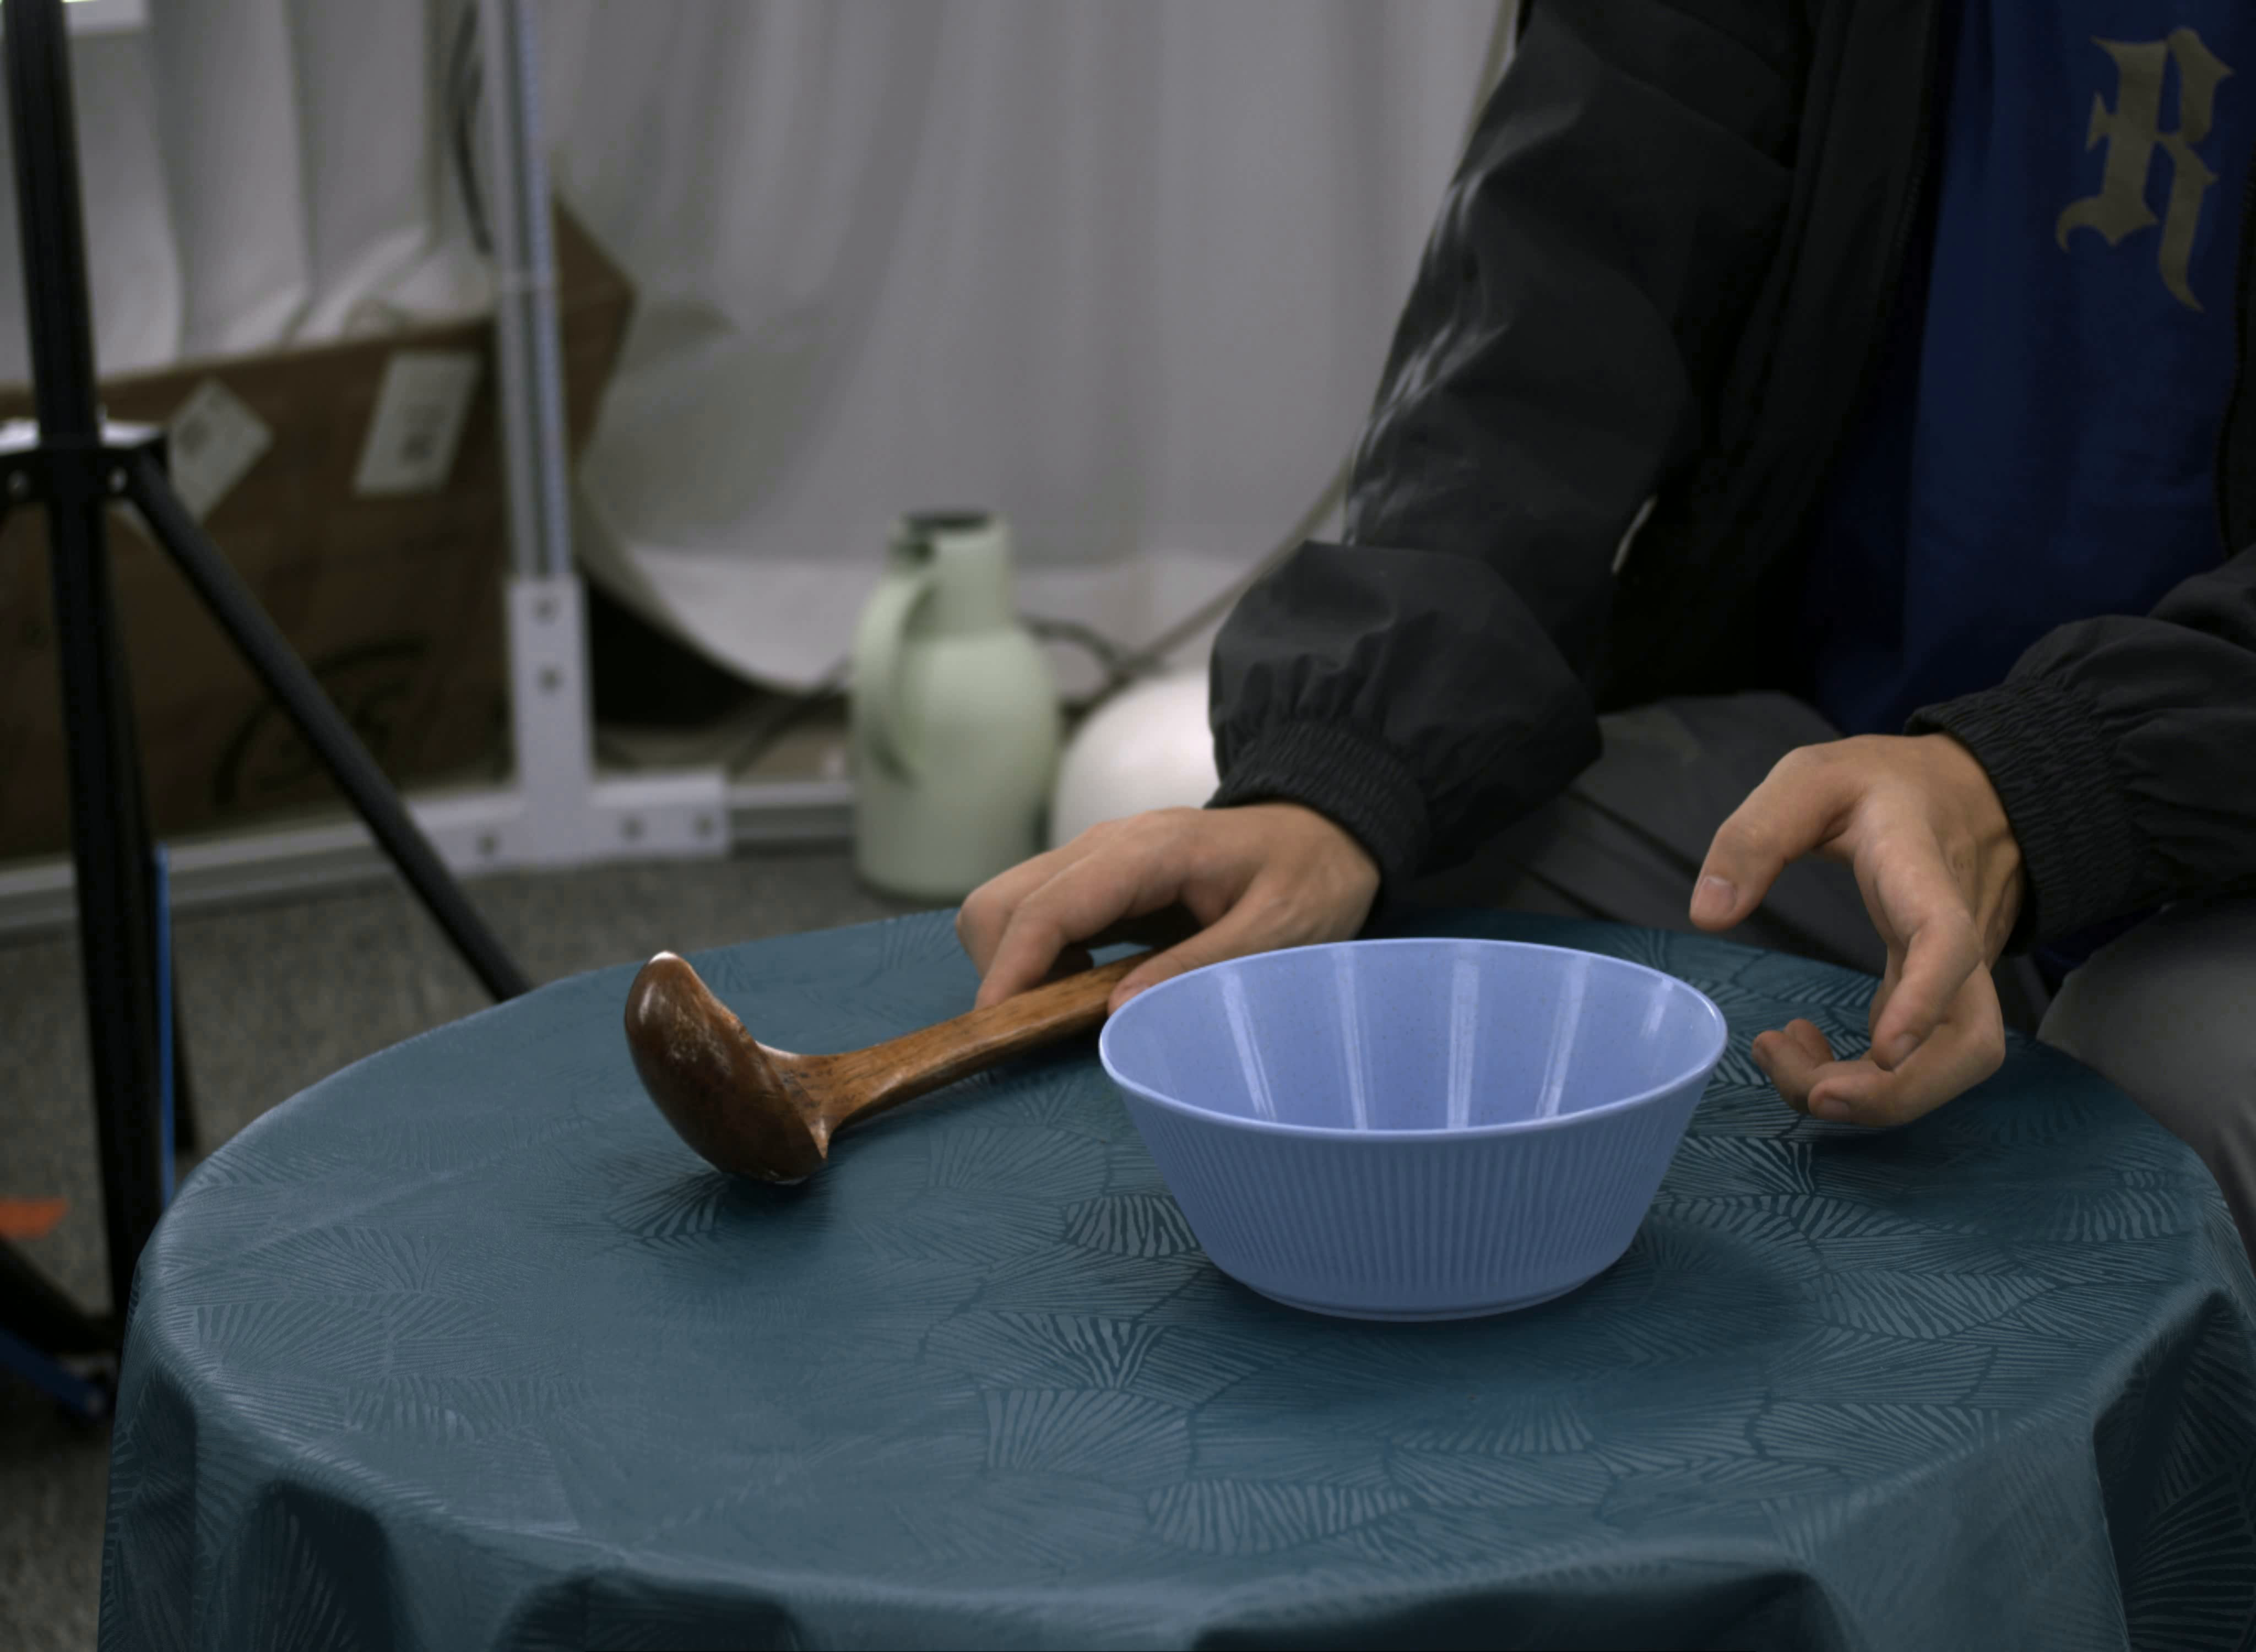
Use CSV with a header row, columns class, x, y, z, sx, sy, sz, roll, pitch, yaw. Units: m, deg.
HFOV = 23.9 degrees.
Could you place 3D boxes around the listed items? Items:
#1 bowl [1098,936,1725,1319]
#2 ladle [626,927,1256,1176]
class,x,y,z,sx,sy,sz,roll,pitch,yaw
bowl,0.080,0.087,1.489,0.175,0.070,0.177,-2,16,-1
ladle,-0.041,0.051,1.638,0.267,0.077,0.083,-13,60,-39
